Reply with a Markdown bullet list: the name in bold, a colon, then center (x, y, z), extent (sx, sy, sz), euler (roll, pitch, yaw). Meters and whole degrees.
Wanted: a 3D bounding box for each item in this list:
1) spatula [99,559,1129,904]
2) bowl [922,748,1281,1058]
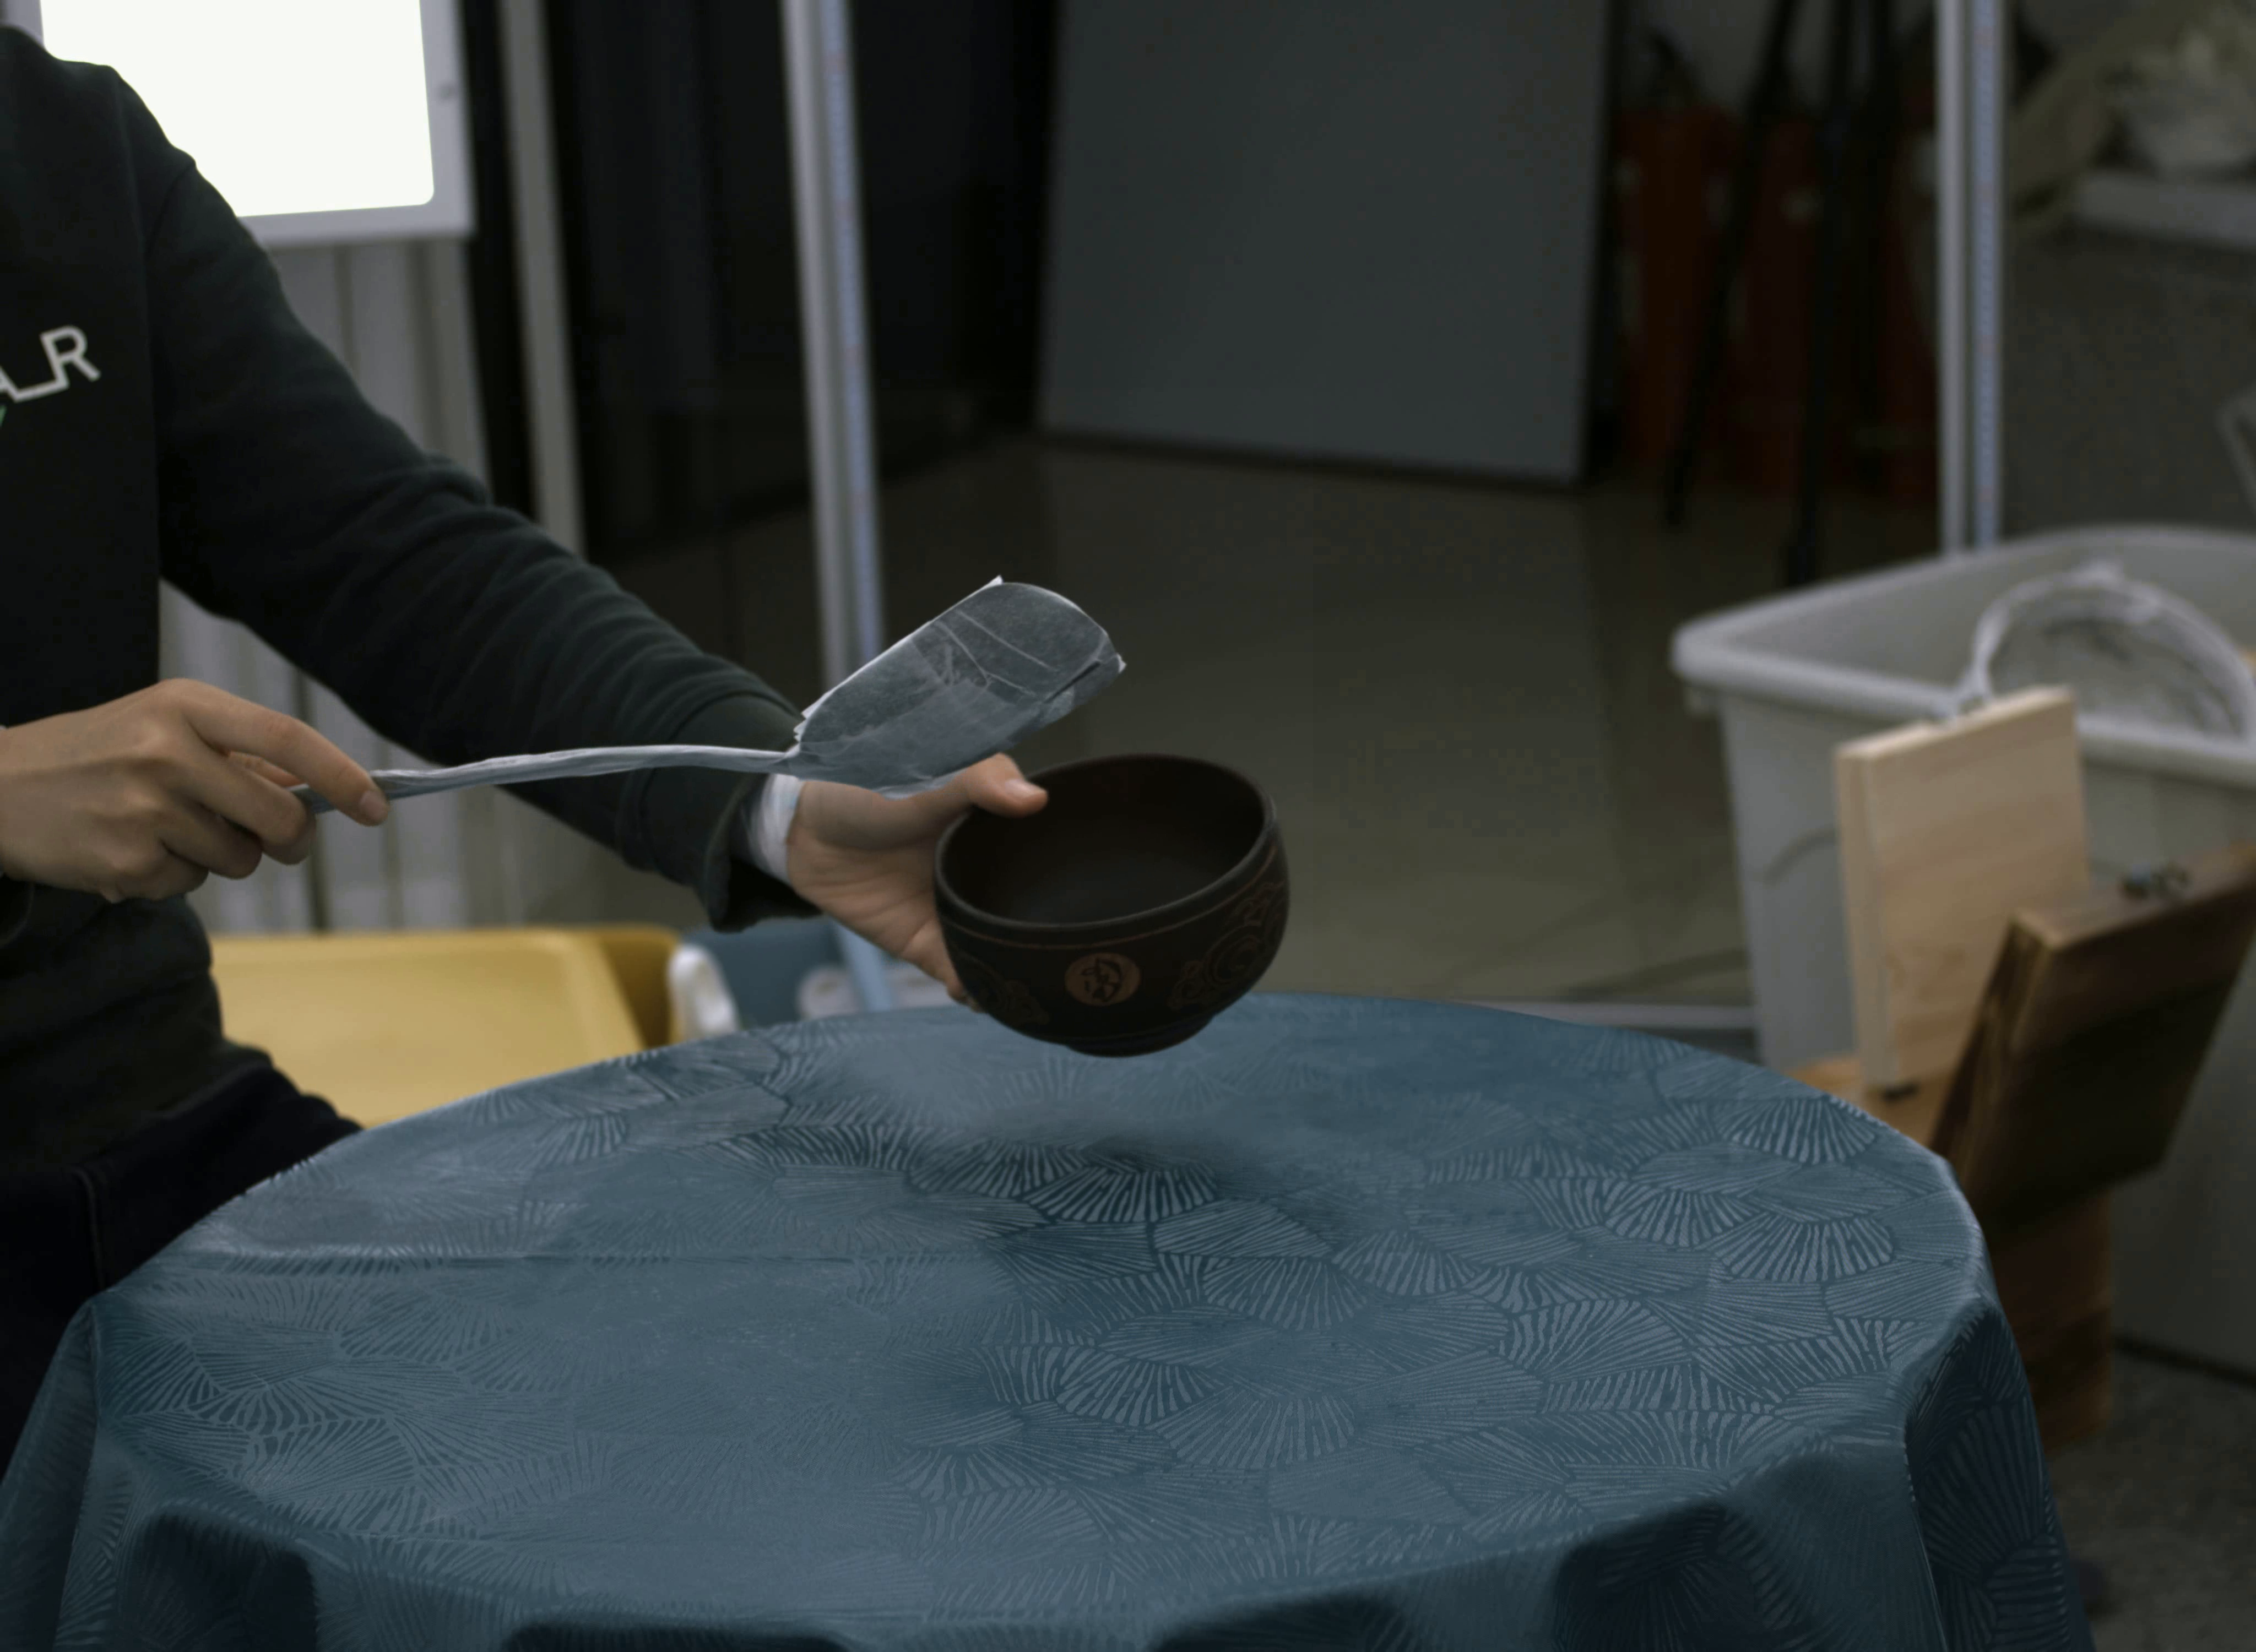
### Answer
- **spatula**: center (-0.174, -0.023, 1.716), extent (0.364, 0.045, 0.097), euler (-9, -21, 21)
- **bowl**: center (-0.006, 0.032, 1.770), extent (0.117, 0.070, 0.118), euler (-9, 27, 4)
